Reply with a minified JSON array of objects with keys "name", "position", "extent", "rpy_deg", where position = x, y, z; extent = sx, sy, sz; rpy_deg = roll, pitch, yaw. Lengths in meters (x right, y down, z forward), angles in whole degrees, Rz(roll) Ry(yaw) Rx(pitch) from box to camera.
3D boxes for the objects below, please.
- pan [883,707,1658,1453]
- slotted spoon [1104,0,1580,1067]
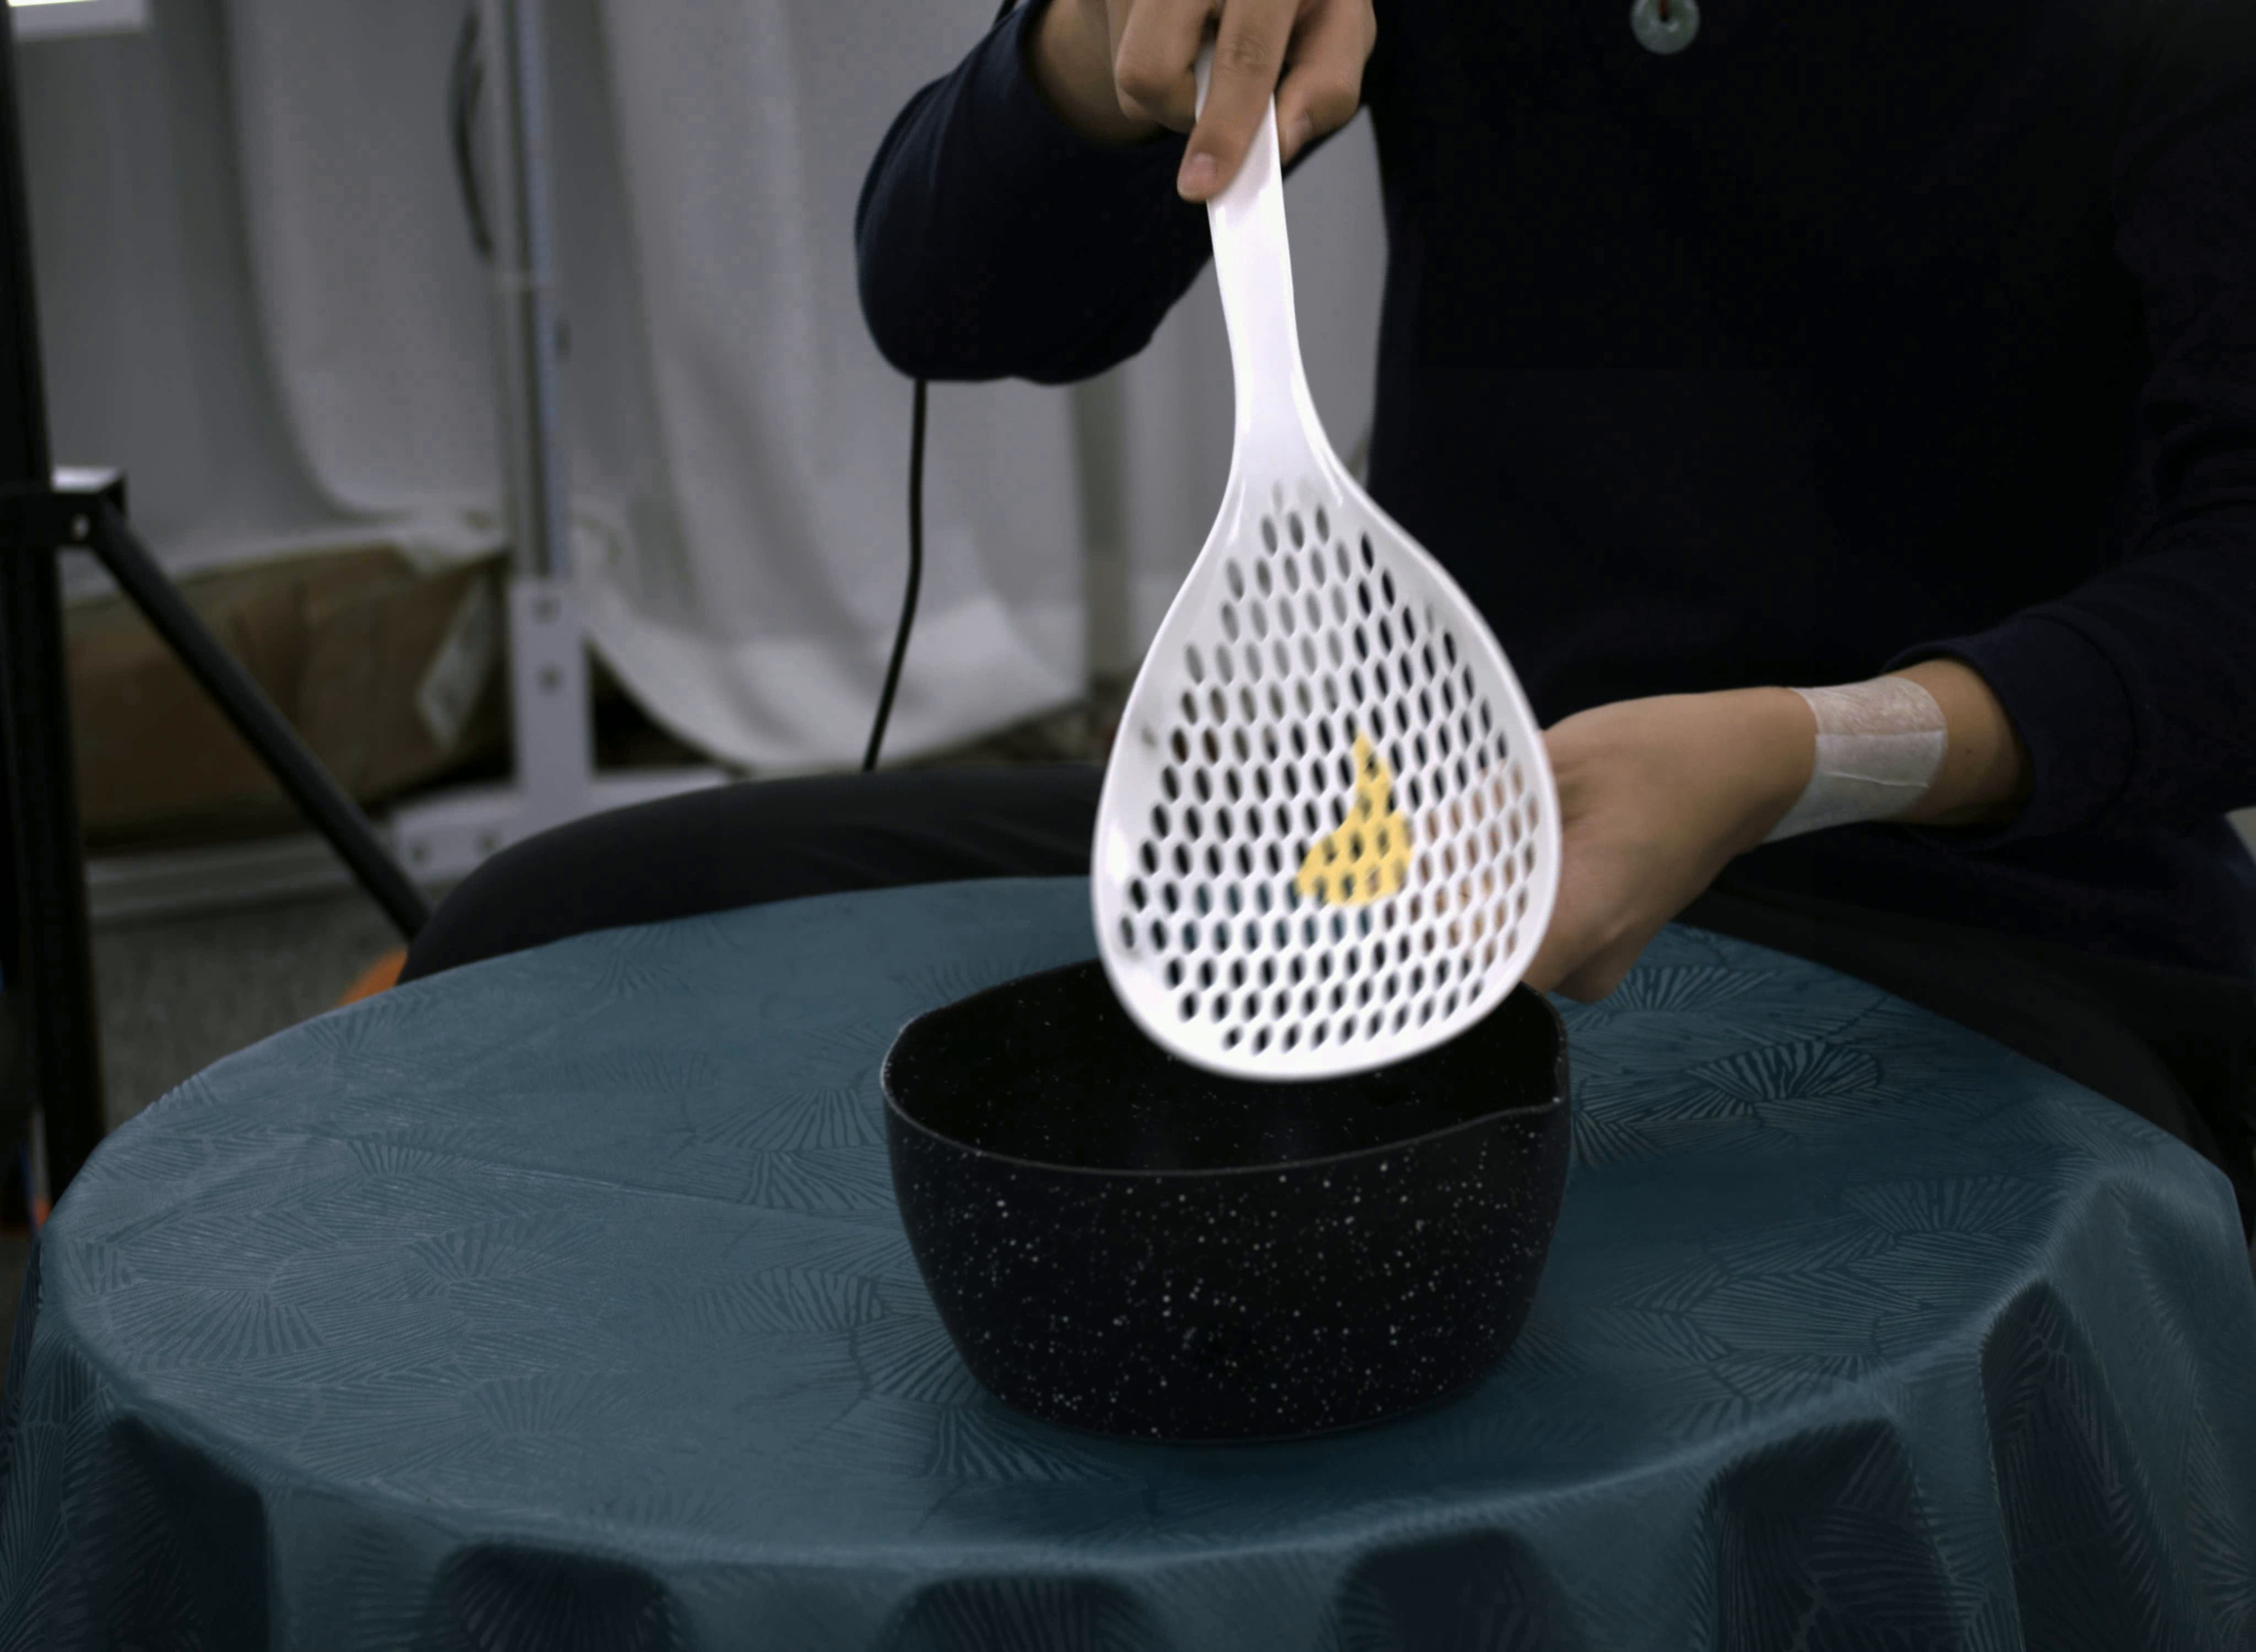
[{"name":"pan","position":[0.067,0.066,1.483],"extent":[0.211,0.108,0.337],"rpy_deg":[5,20,30]},{"name":"slotted spoon","position":[0.046,-0.098,1.499],"extent":[0.138,0.352,0.049],"rpy_deg":[-16,-19,19]}]
